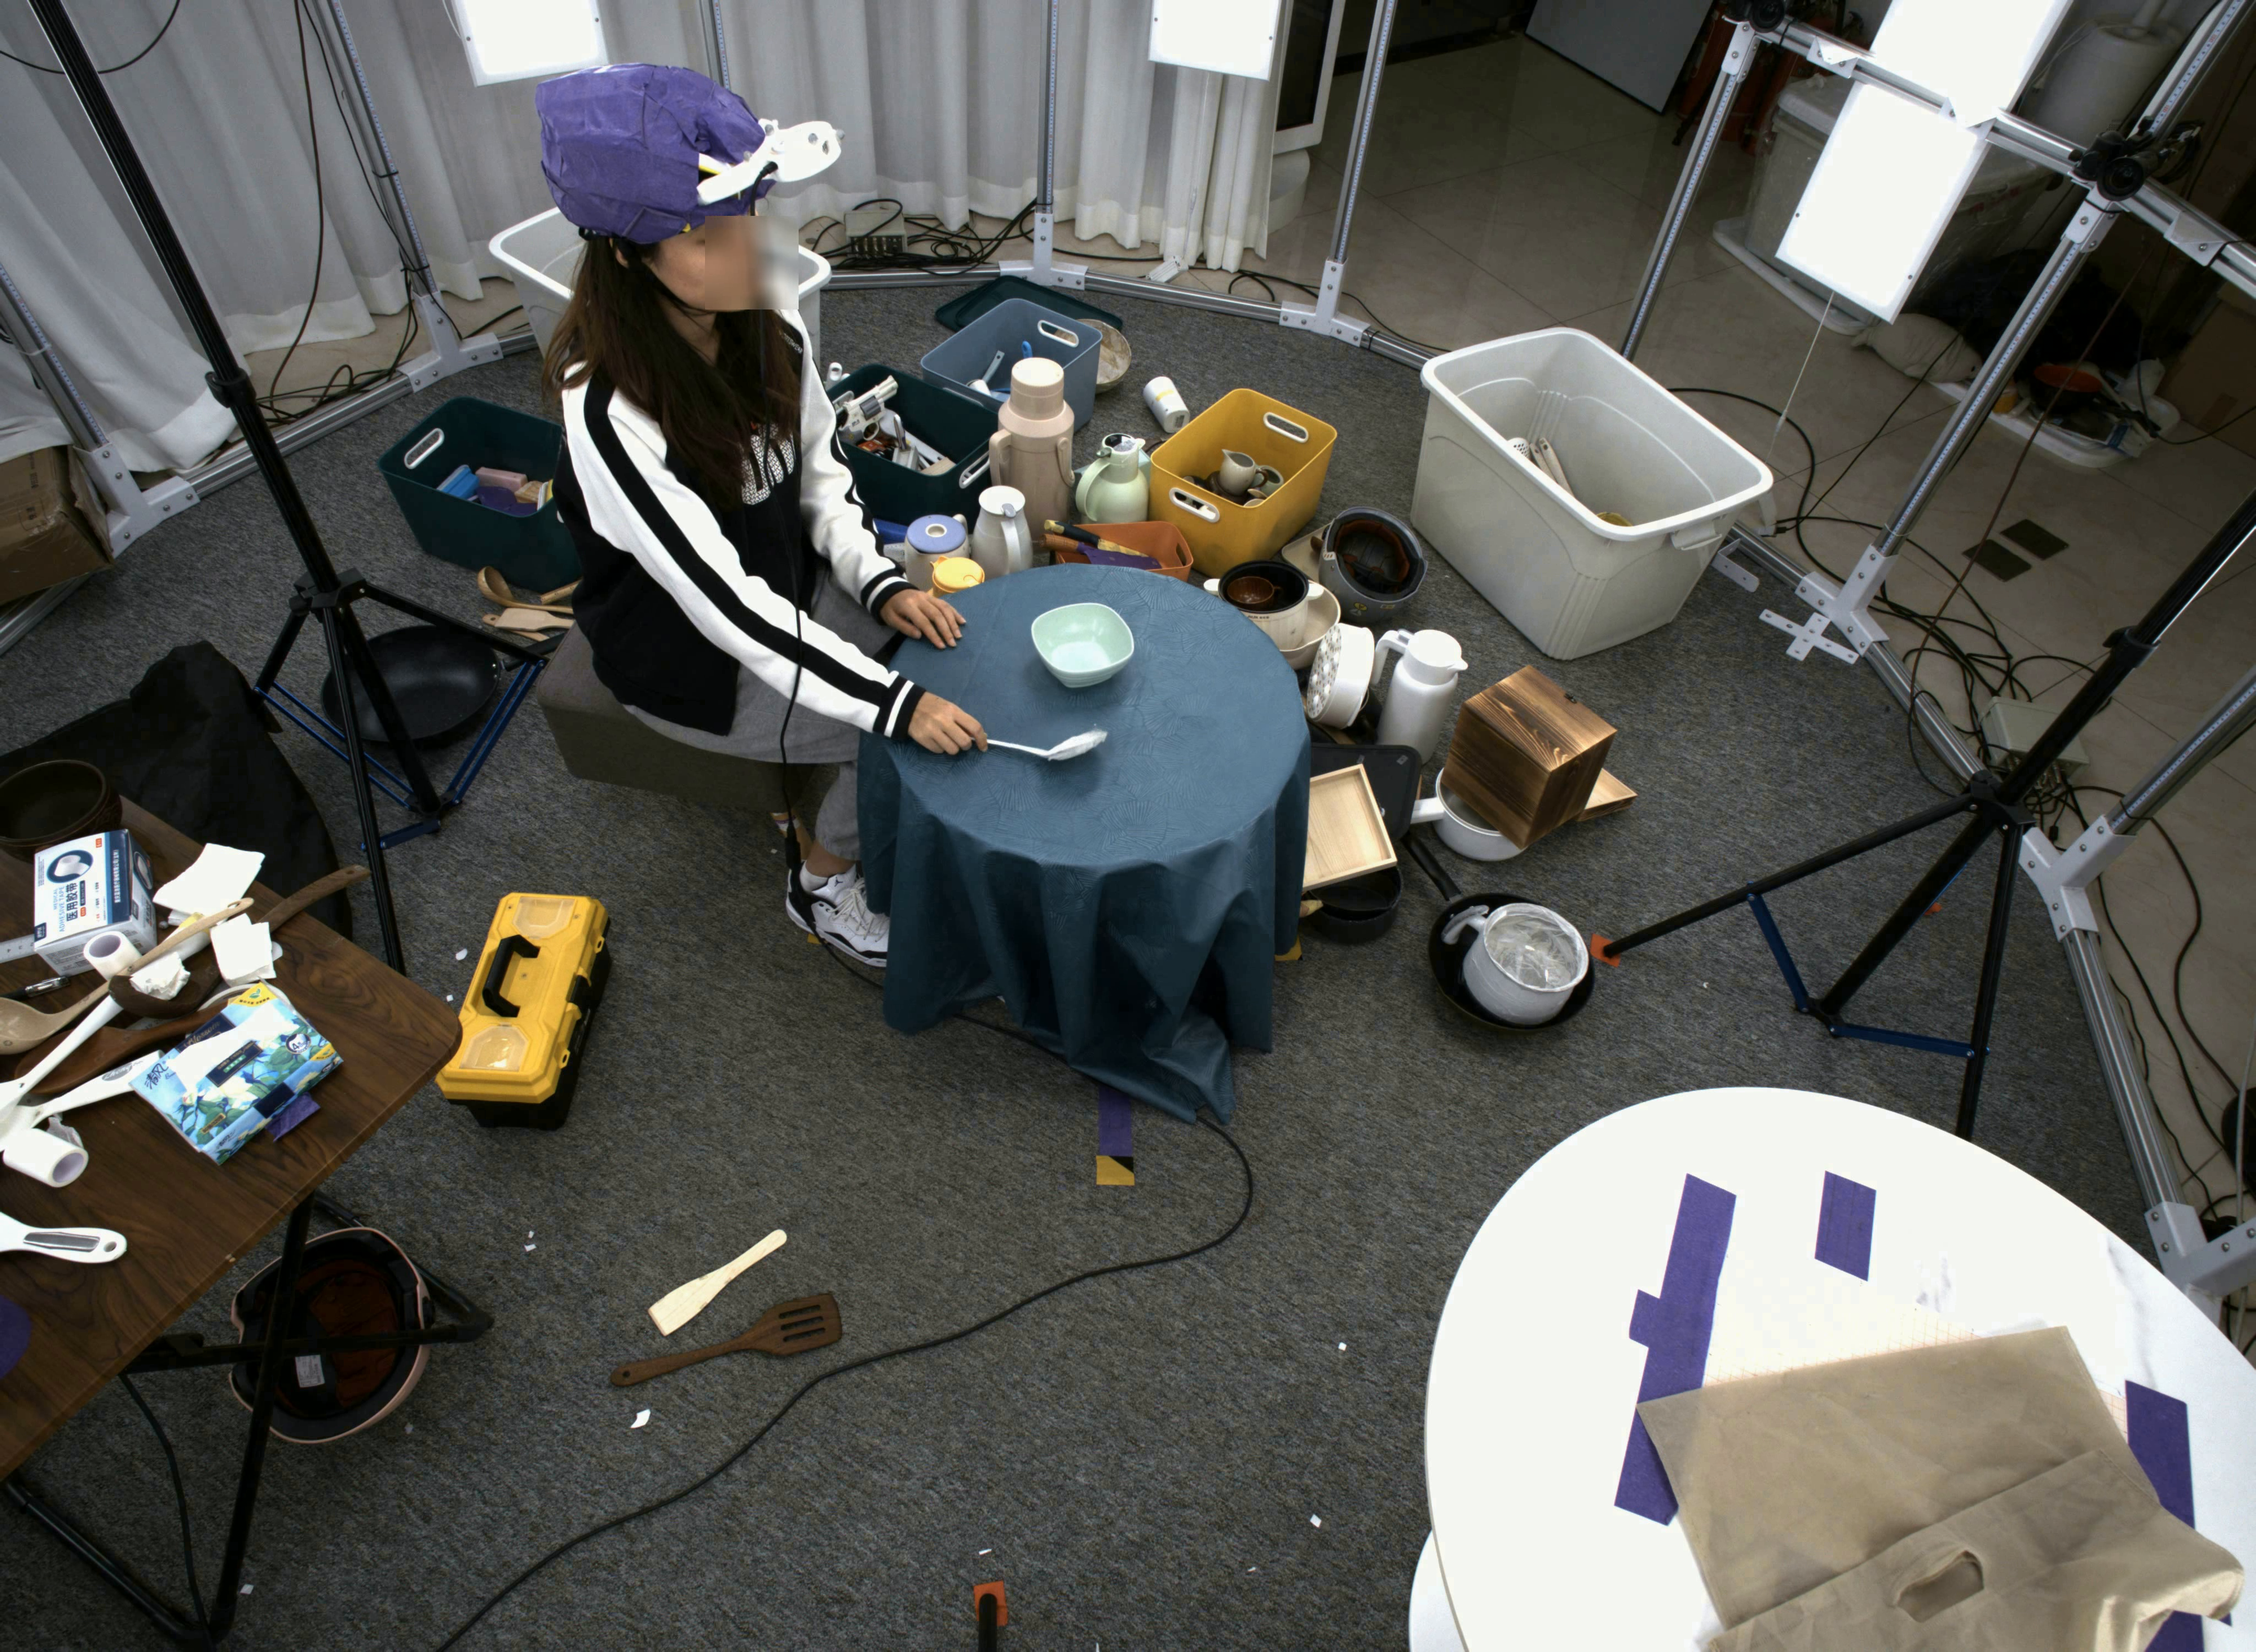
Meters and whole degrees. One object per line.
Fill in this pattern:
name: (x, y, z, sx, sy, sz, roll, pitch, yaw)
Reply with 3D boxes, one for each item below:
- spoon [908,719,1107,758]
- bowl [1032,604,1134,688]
spoon: (-0.165, -0.138, 1.746, 0.278, 0.059, 0.101, 14, 11, 13)
bowl: (-0.066, -0.250, 1.848, 0.151, 0.057, 0.155, 2, 49, -3)
